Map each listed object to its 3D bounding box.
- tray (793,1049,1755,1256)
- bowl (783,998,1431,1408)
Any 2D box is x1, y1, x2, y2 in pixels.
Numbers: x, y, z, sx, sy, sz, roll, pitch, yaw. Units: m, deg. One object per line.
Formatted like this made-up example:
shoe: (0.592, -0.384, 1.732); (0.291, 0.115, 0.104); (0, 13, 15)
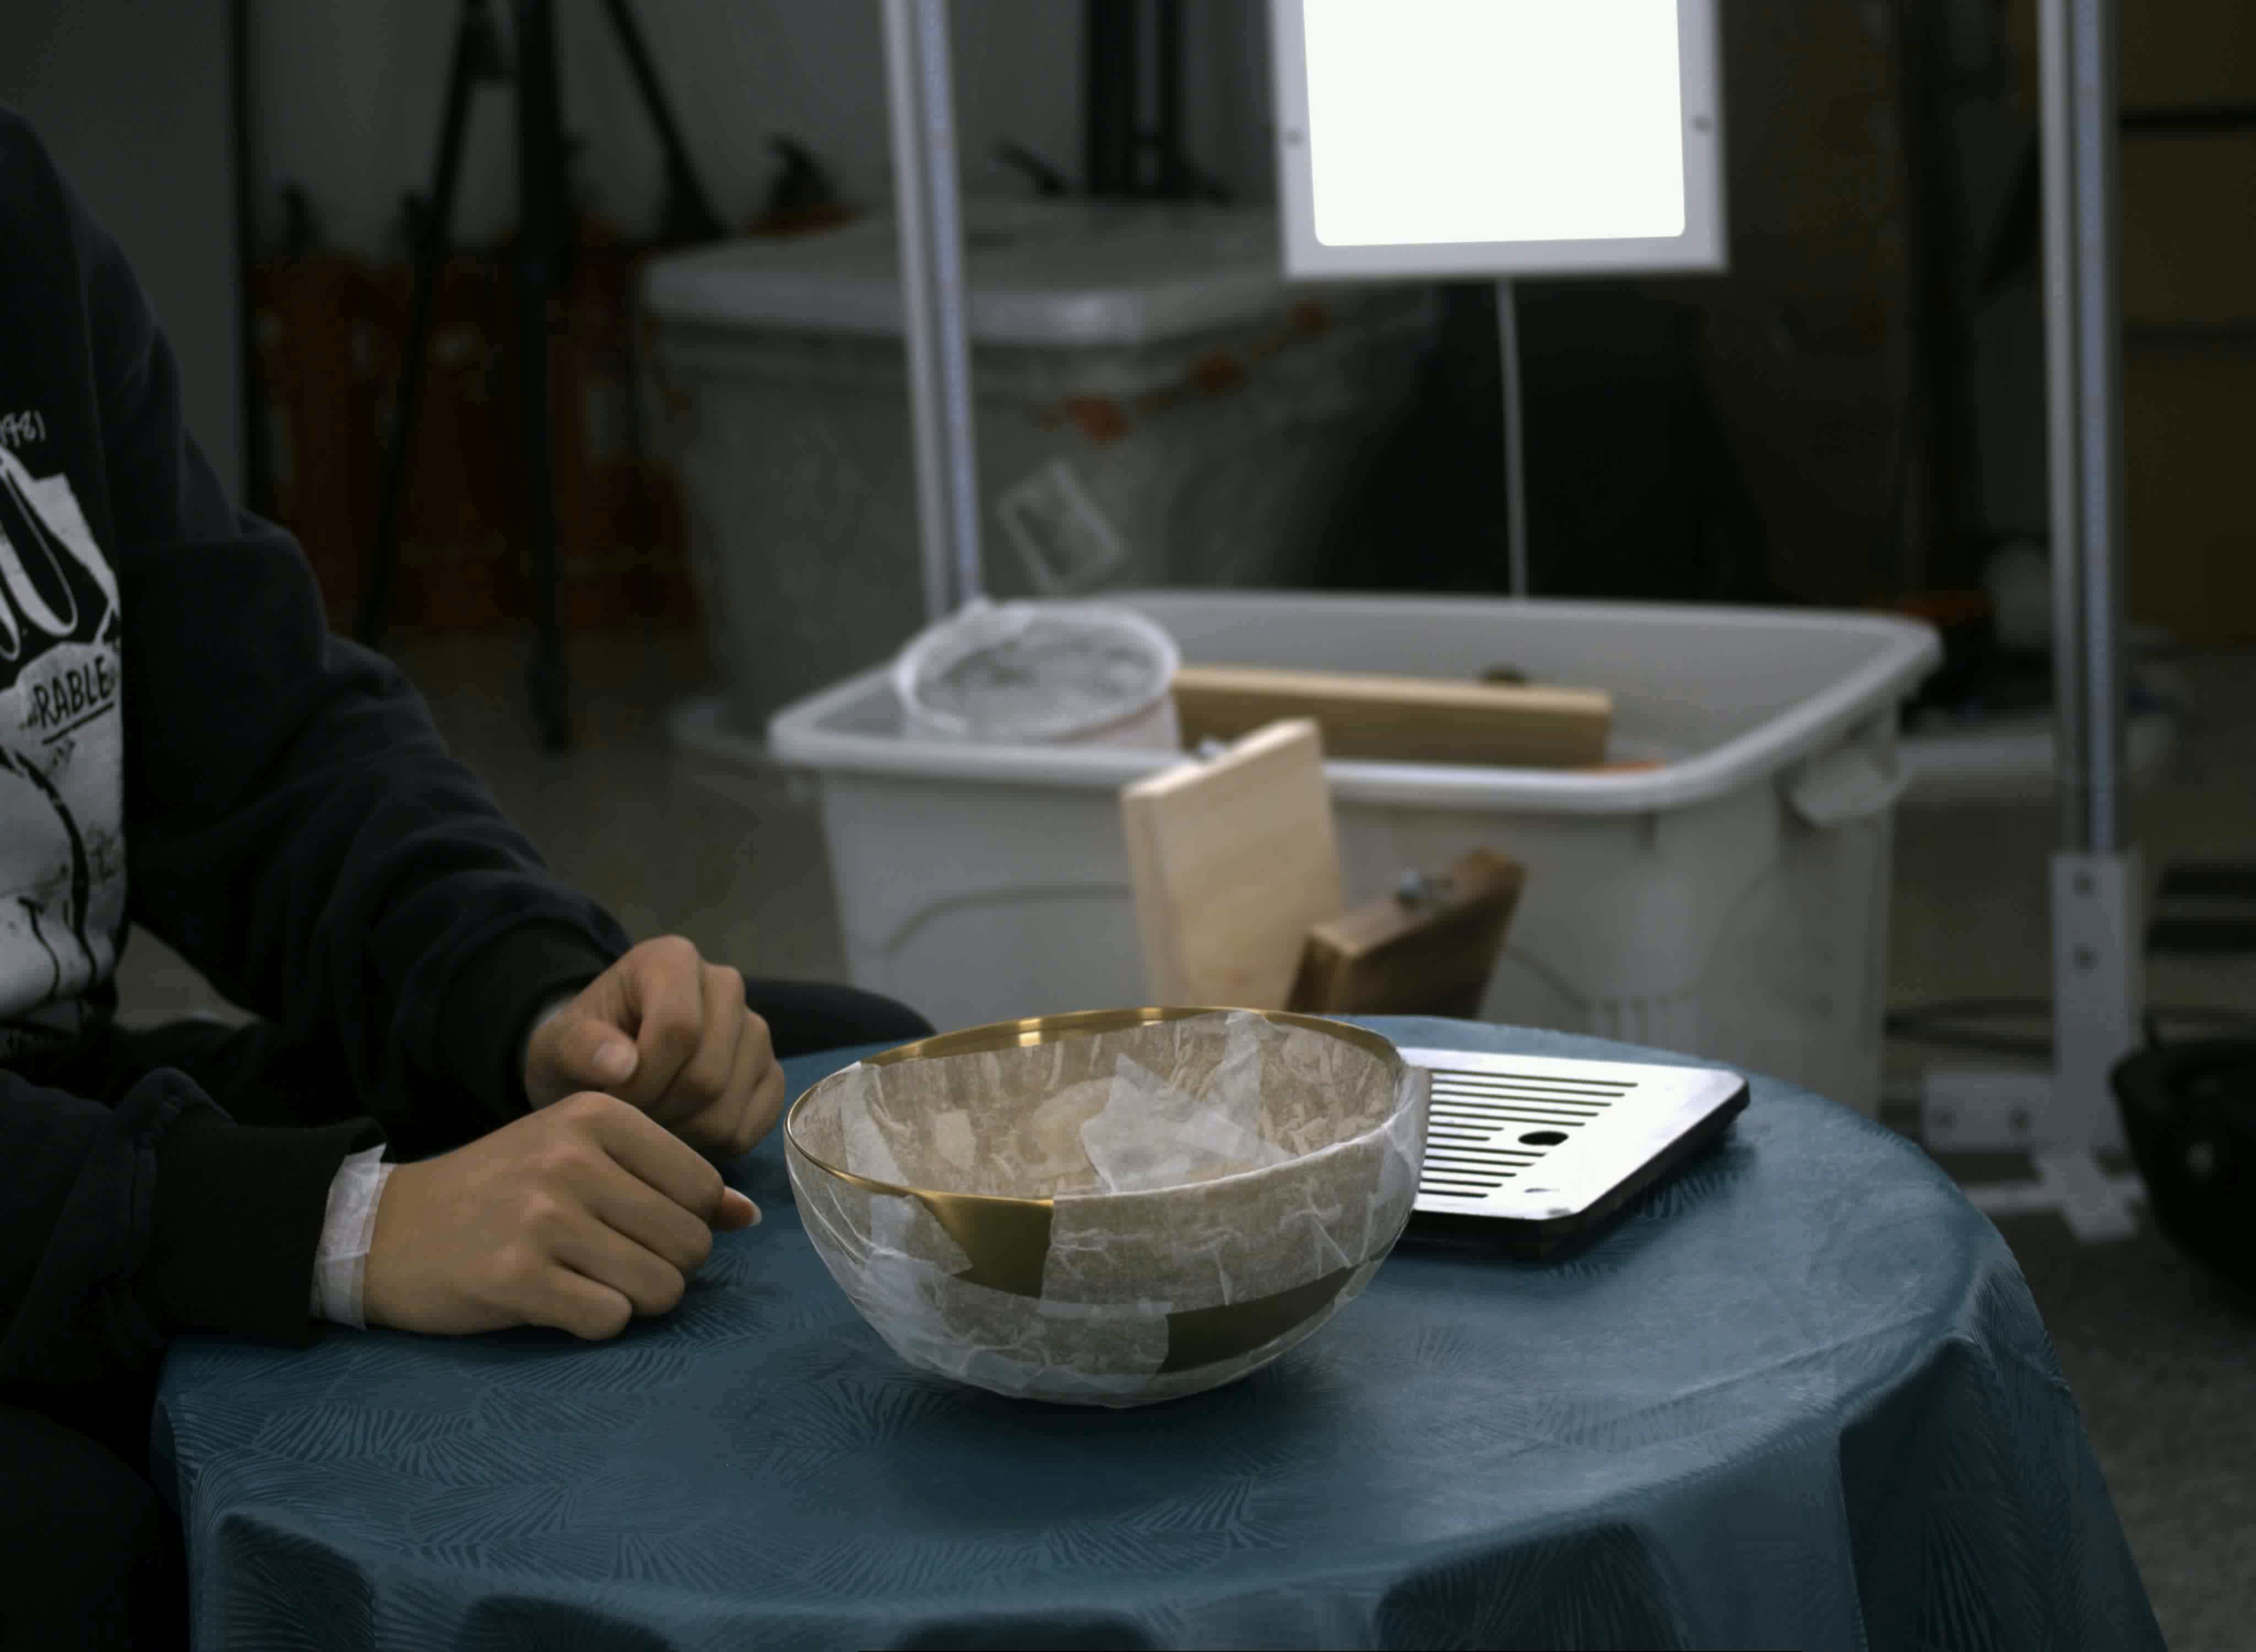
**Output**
tray: (0.051, 0.107, 1.922); (0.311, 0.019, 0.166); (3, 16, 30)
bowl: (-0.005, 0.124, 1.714); (0.214, 0.095, 0.214); (-6, 15, 0)
